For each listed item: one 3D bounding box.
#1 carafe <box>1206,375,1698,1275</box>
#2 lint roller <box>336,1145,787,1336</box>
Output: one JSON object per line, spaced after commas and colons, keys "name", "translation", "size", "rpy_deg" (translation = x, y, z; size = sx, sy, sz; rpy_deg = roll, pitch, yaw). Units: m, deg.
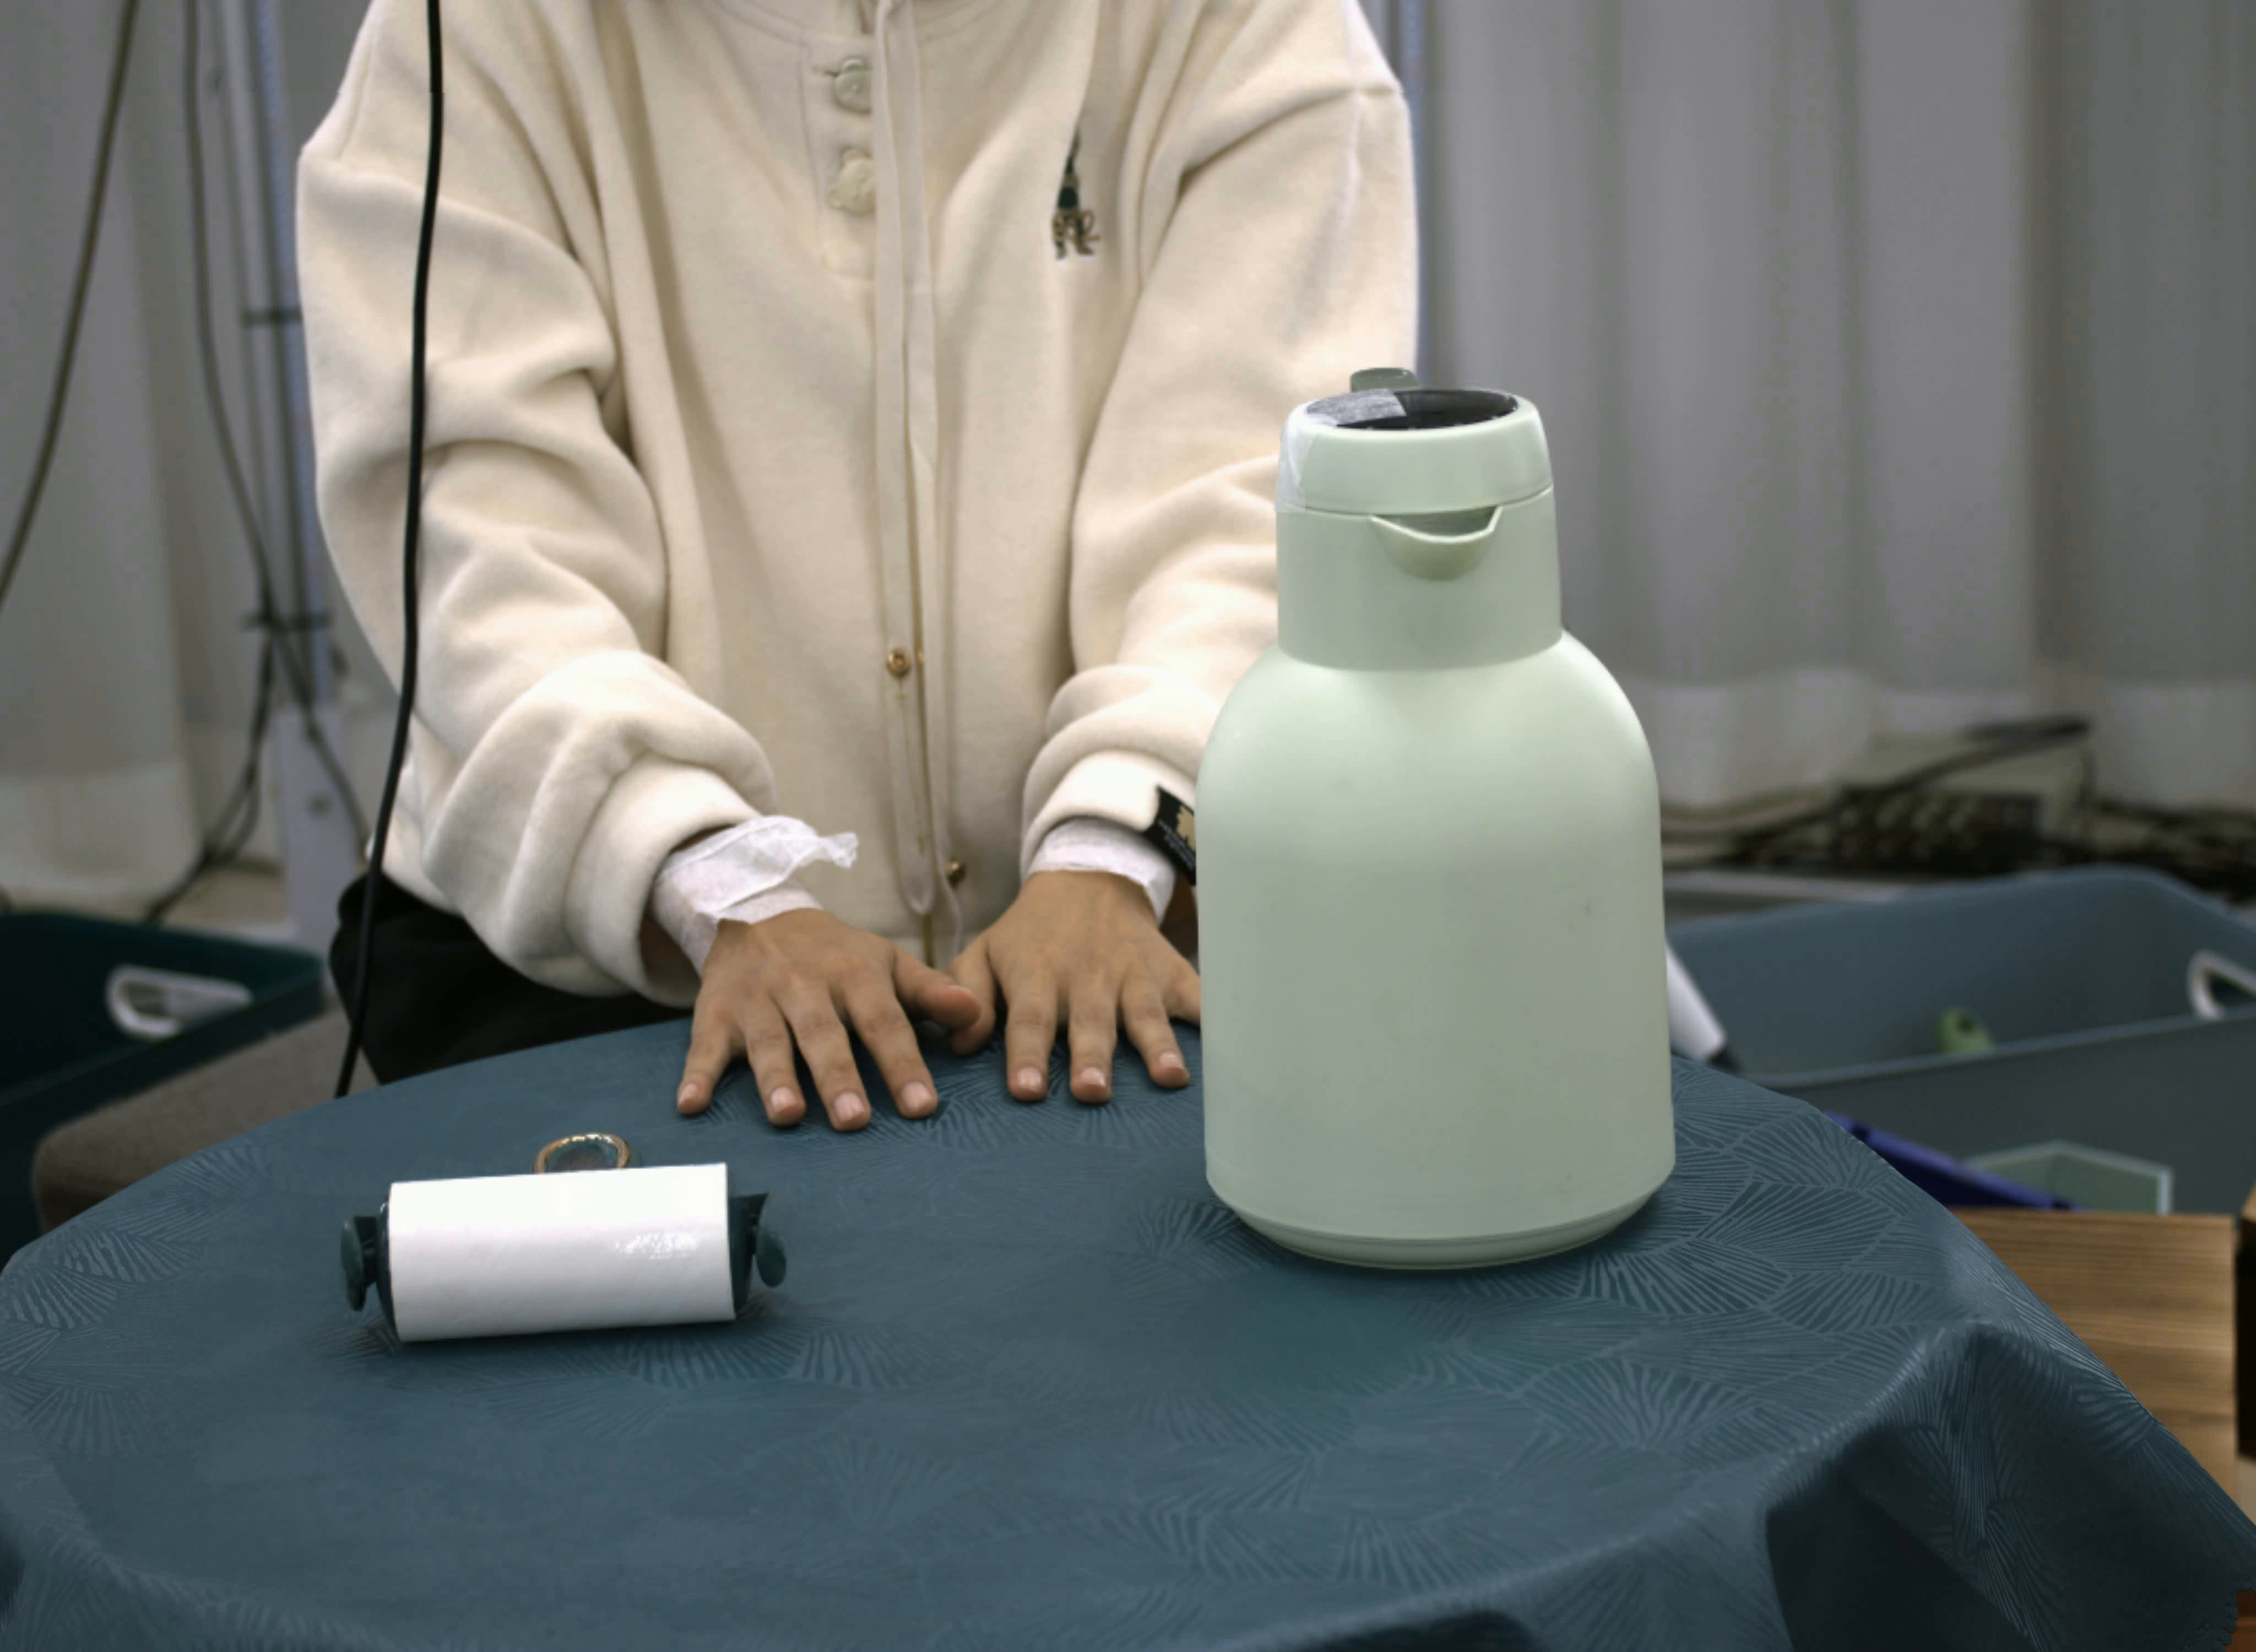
{"name": "carafe", "translation": [0.092, -0.006, 1.669], "size": [0.144, 0.256, 0.188], "rpy_deg": [-6, 10, -5]}
{"name": "lint roller", "translation": [-0.170, 0.108, 1.679], "size": [0.134, 0.048, 0.181], "rpy_deg": [-3, 15, -2]}
